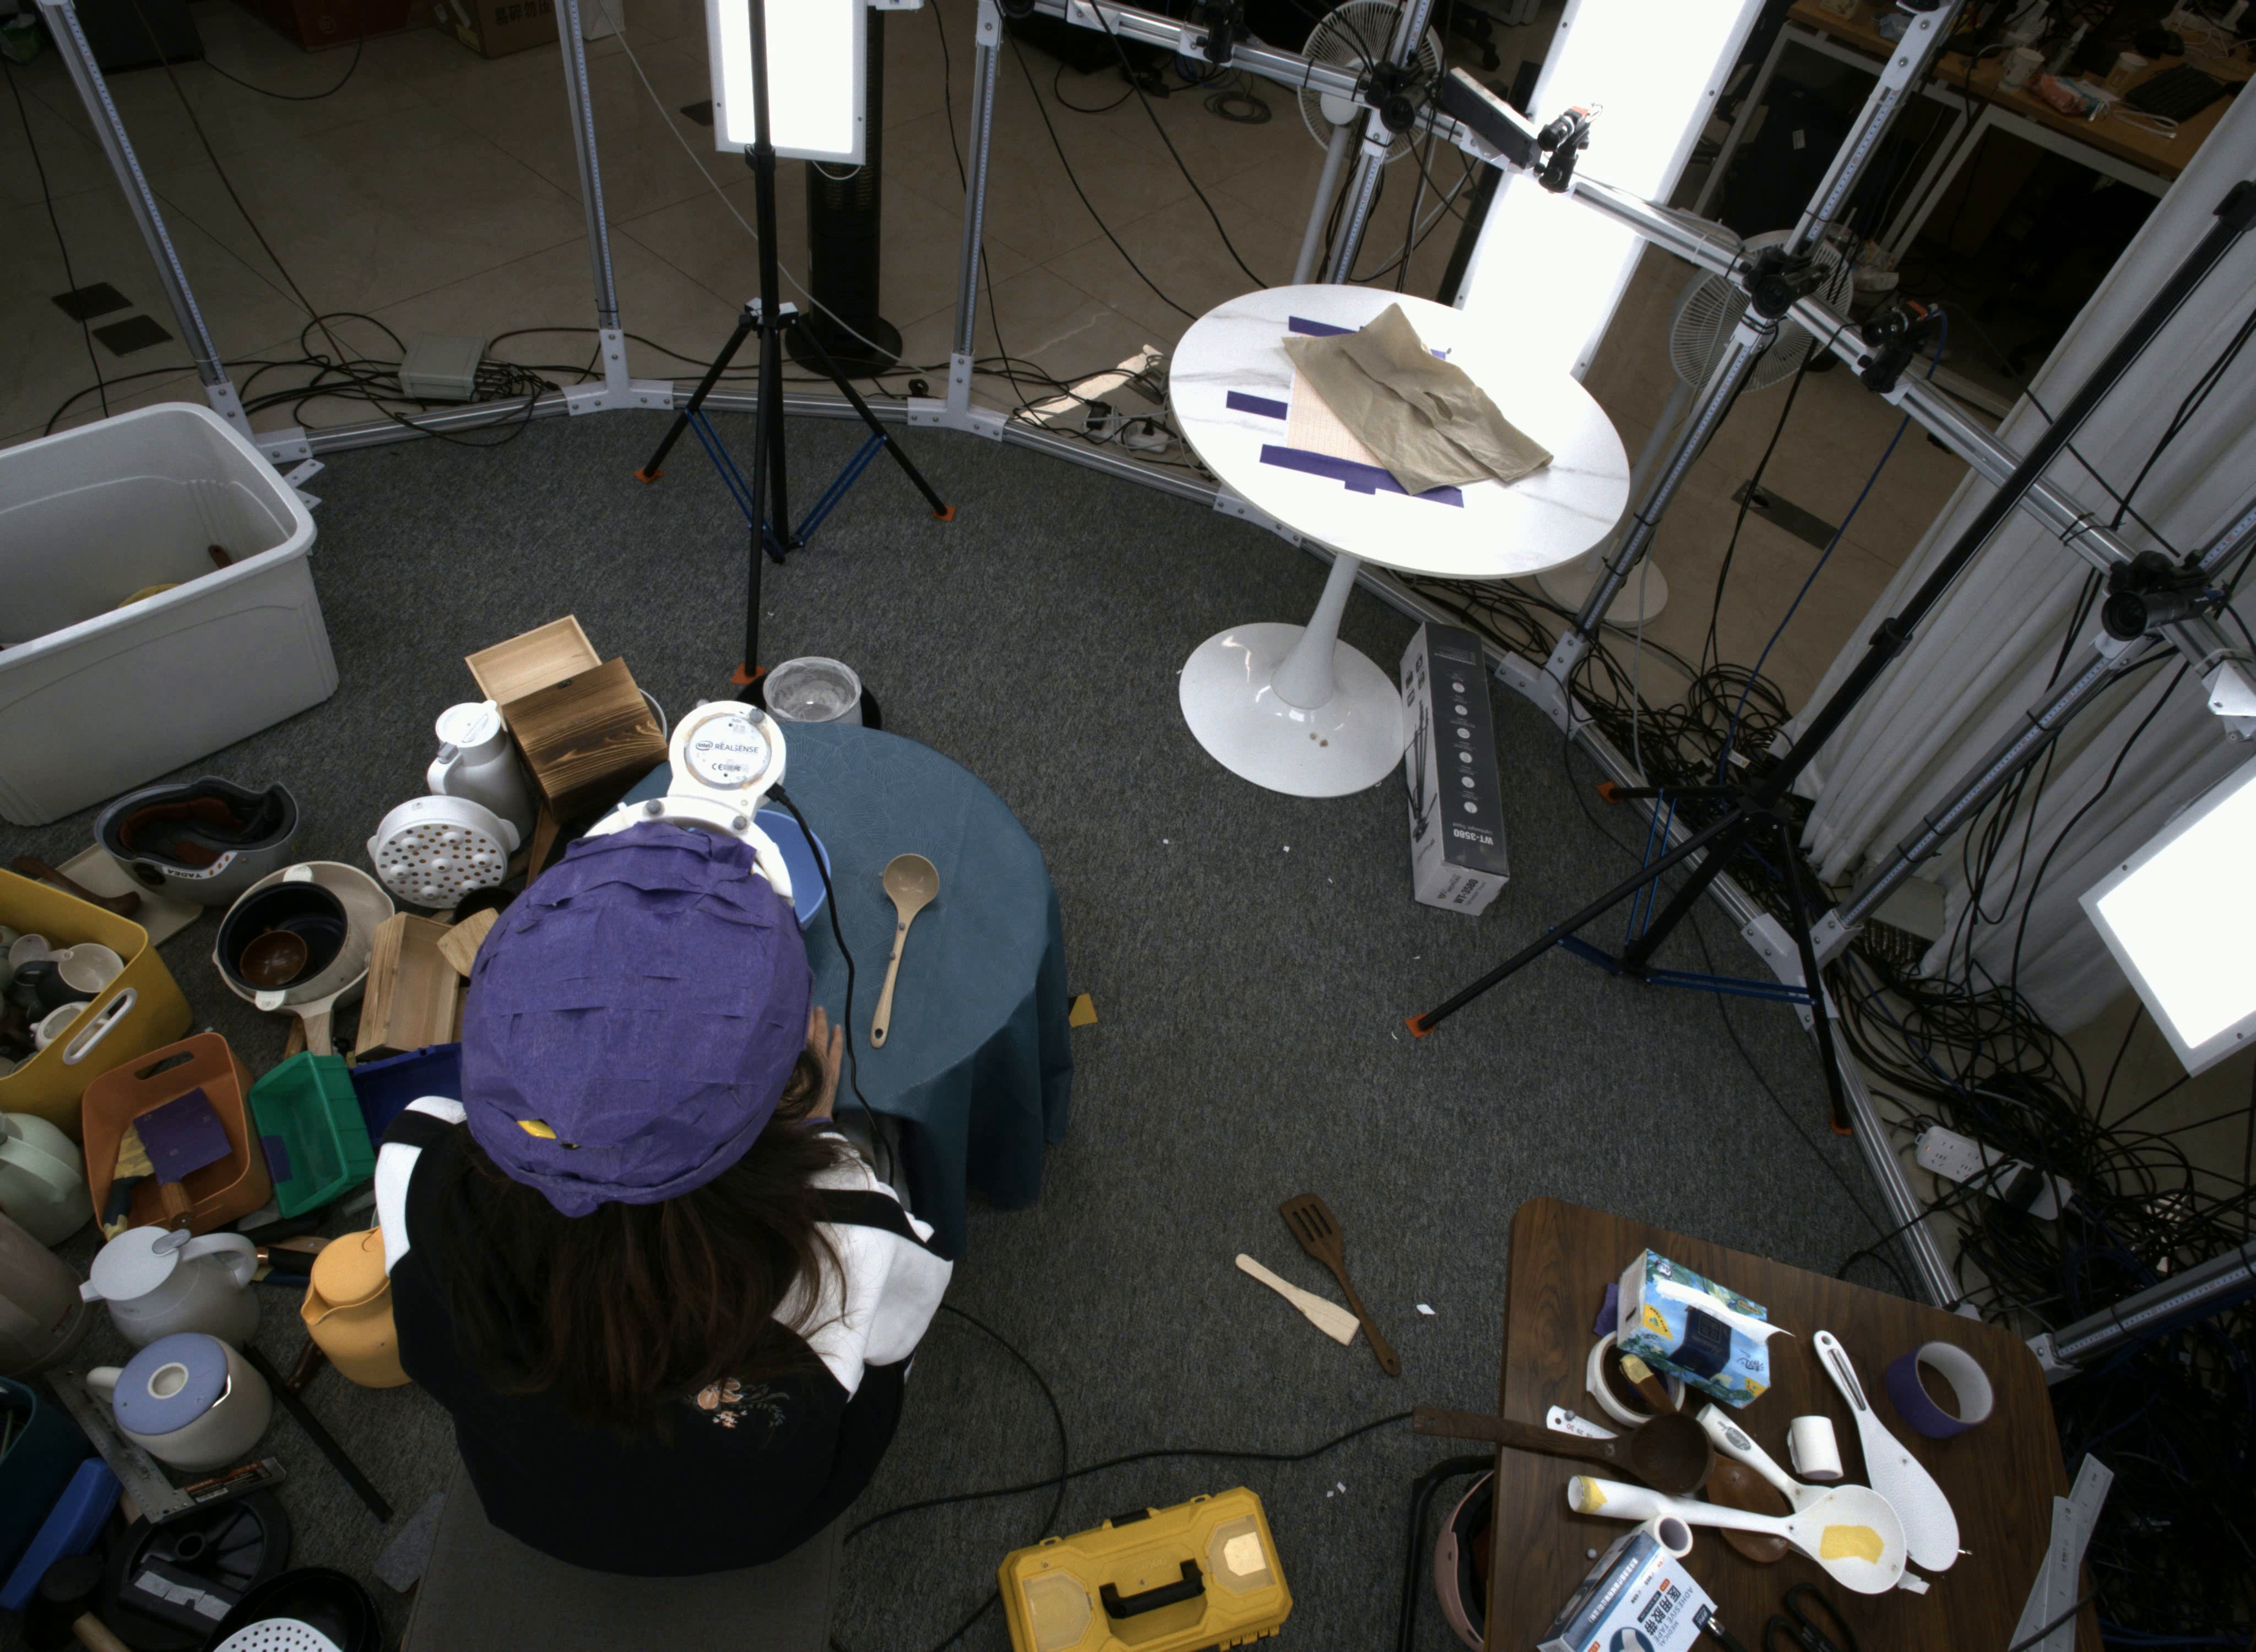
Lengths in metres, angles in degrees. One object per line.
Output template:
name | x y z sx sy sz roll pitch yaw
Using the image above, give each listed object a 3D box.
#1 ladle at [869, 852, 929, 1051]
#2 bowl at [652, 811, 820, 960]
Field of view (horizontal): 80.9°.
ladle | -0.293 0.144 1.598 0.072 0.074 0.250 7 52 -6
bowl | -0.477 0.086 1.582 0.196 0.097 0.193 9 52 -10
